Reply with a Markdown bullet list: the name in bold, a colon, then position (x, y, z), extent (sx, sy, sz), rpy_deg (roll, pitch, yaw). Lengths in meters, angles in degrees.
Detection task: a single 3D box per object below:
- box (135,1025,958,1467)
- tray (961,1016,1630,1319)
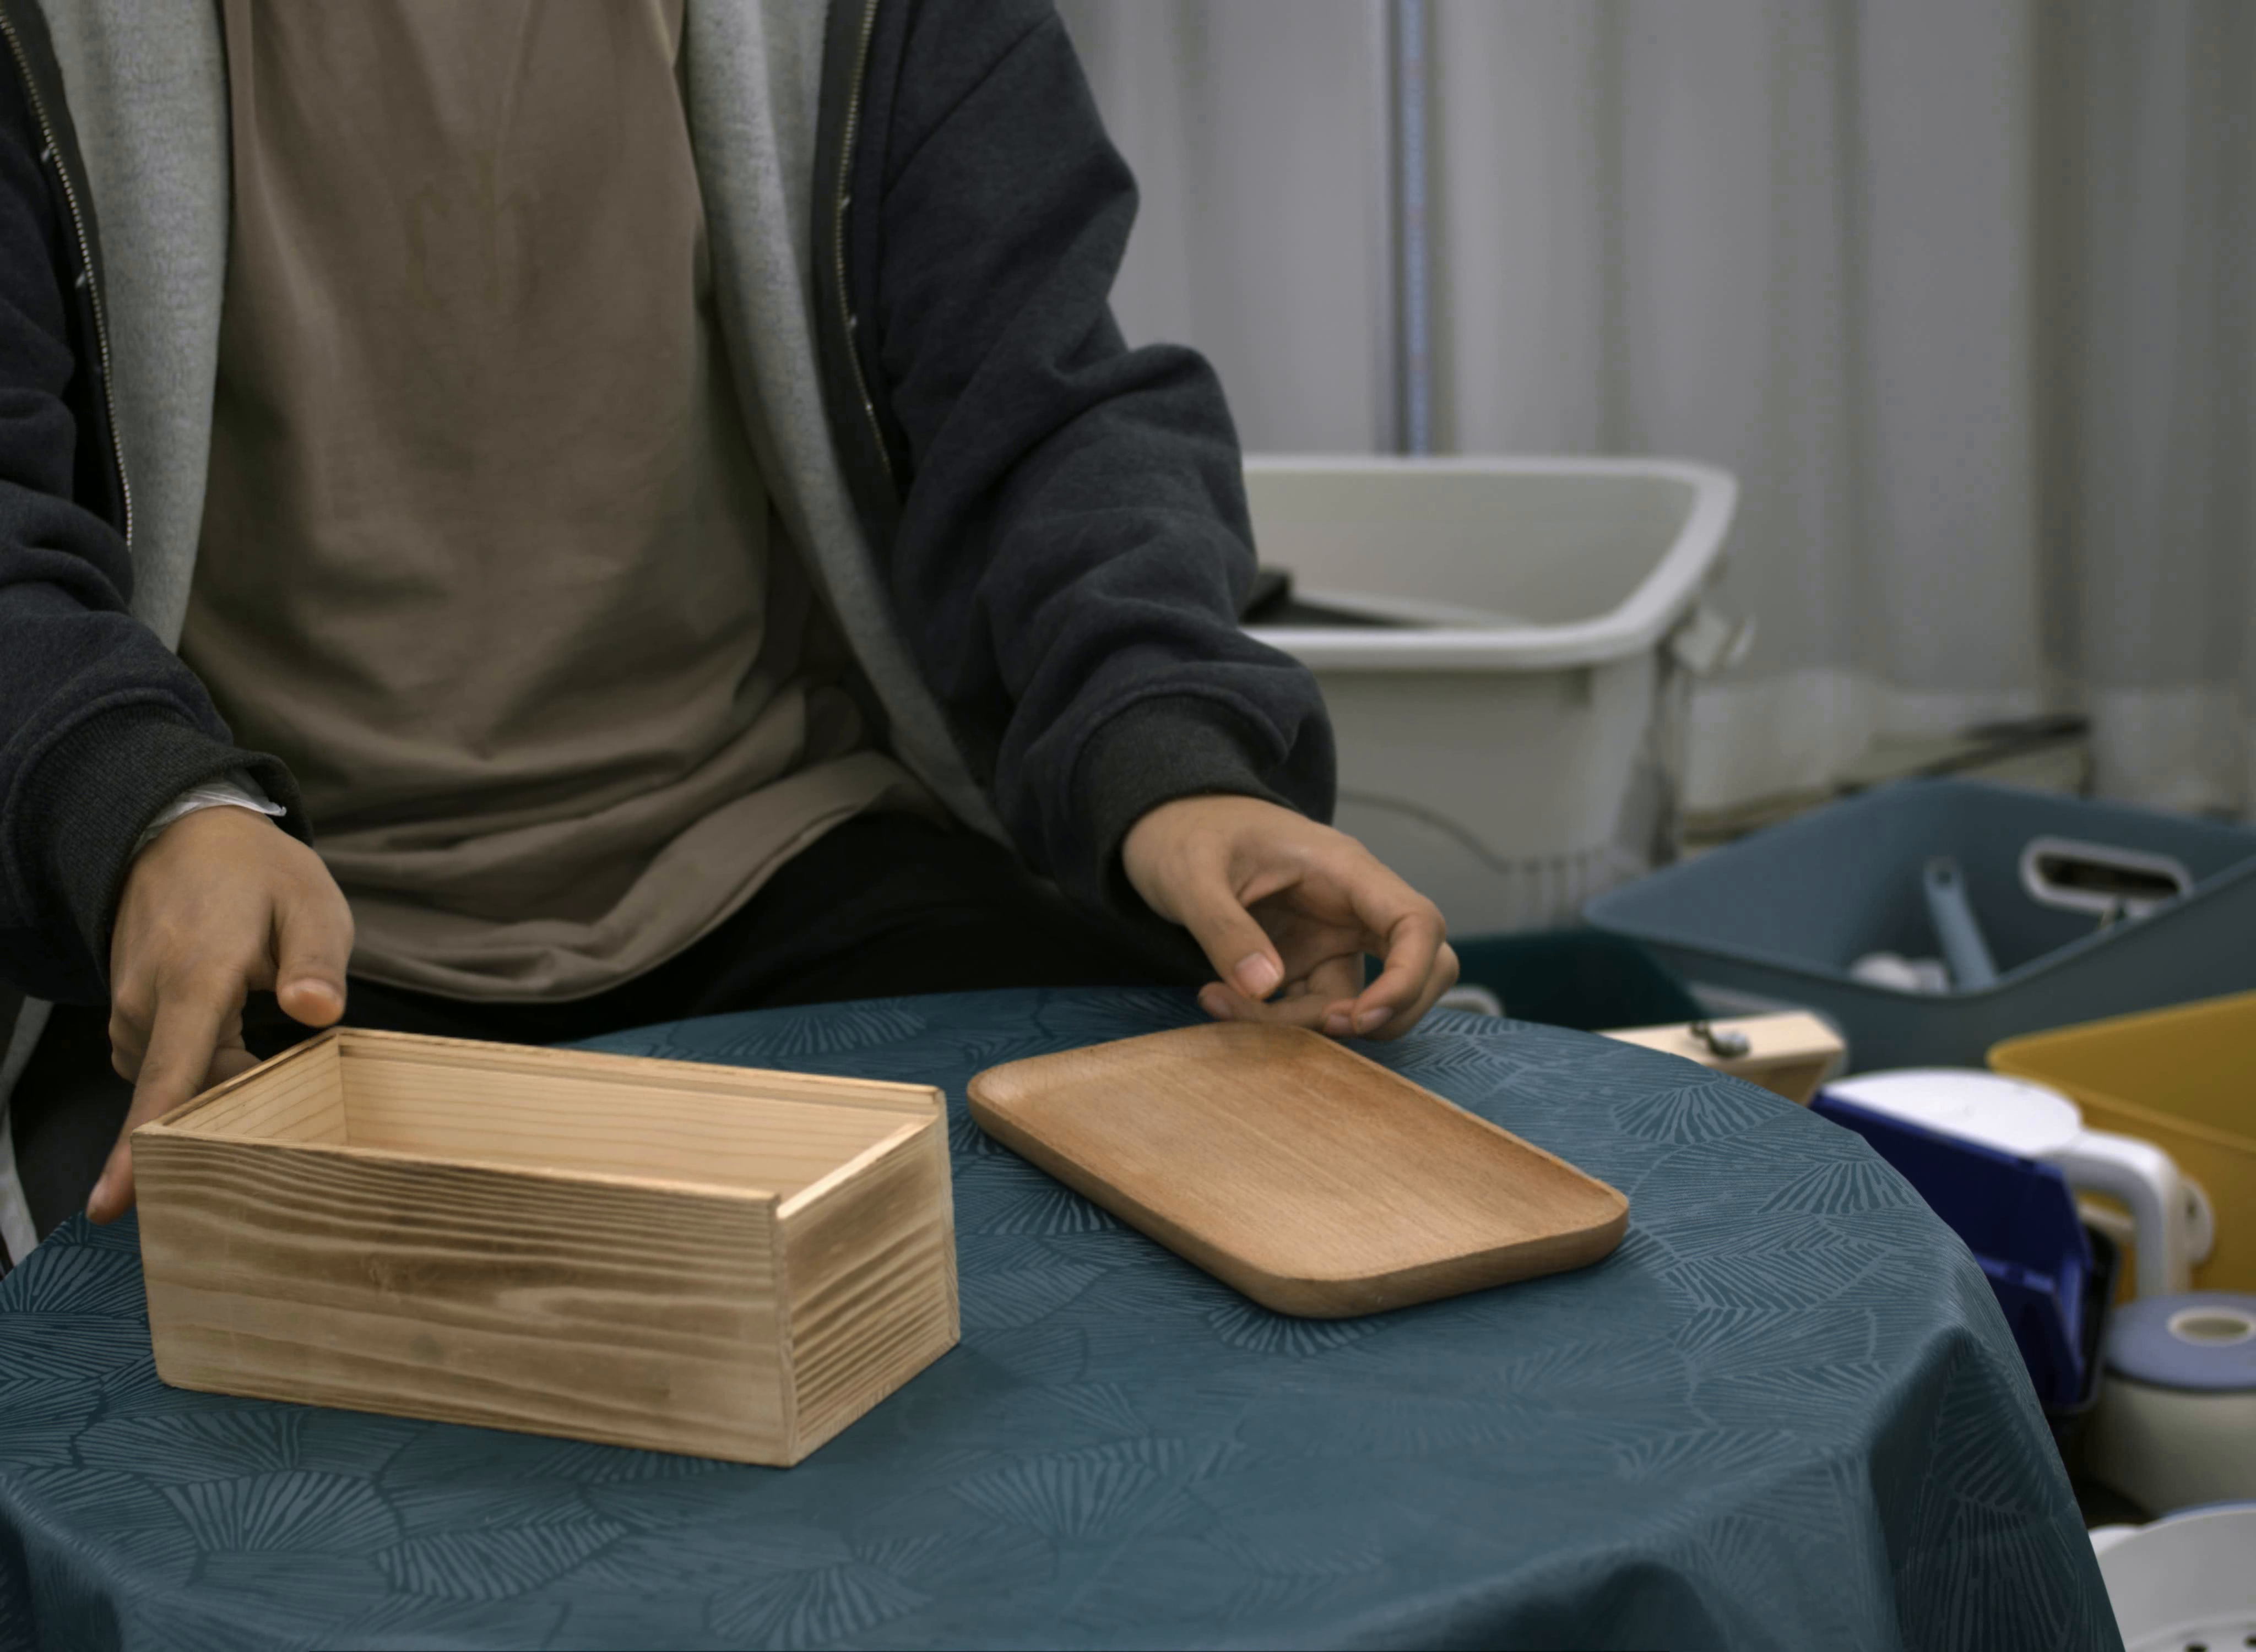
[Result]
- **box**: position (-0.167, 0.119, 1.582), extent (0.212, 0.080, 0.108), rpy_deg (4, 16, 25)
- **tray**: position (0.048, 0.104, 1.711), extent (0.130, 0.023, 0.252), rpy_deg (-7, 15, -25)
